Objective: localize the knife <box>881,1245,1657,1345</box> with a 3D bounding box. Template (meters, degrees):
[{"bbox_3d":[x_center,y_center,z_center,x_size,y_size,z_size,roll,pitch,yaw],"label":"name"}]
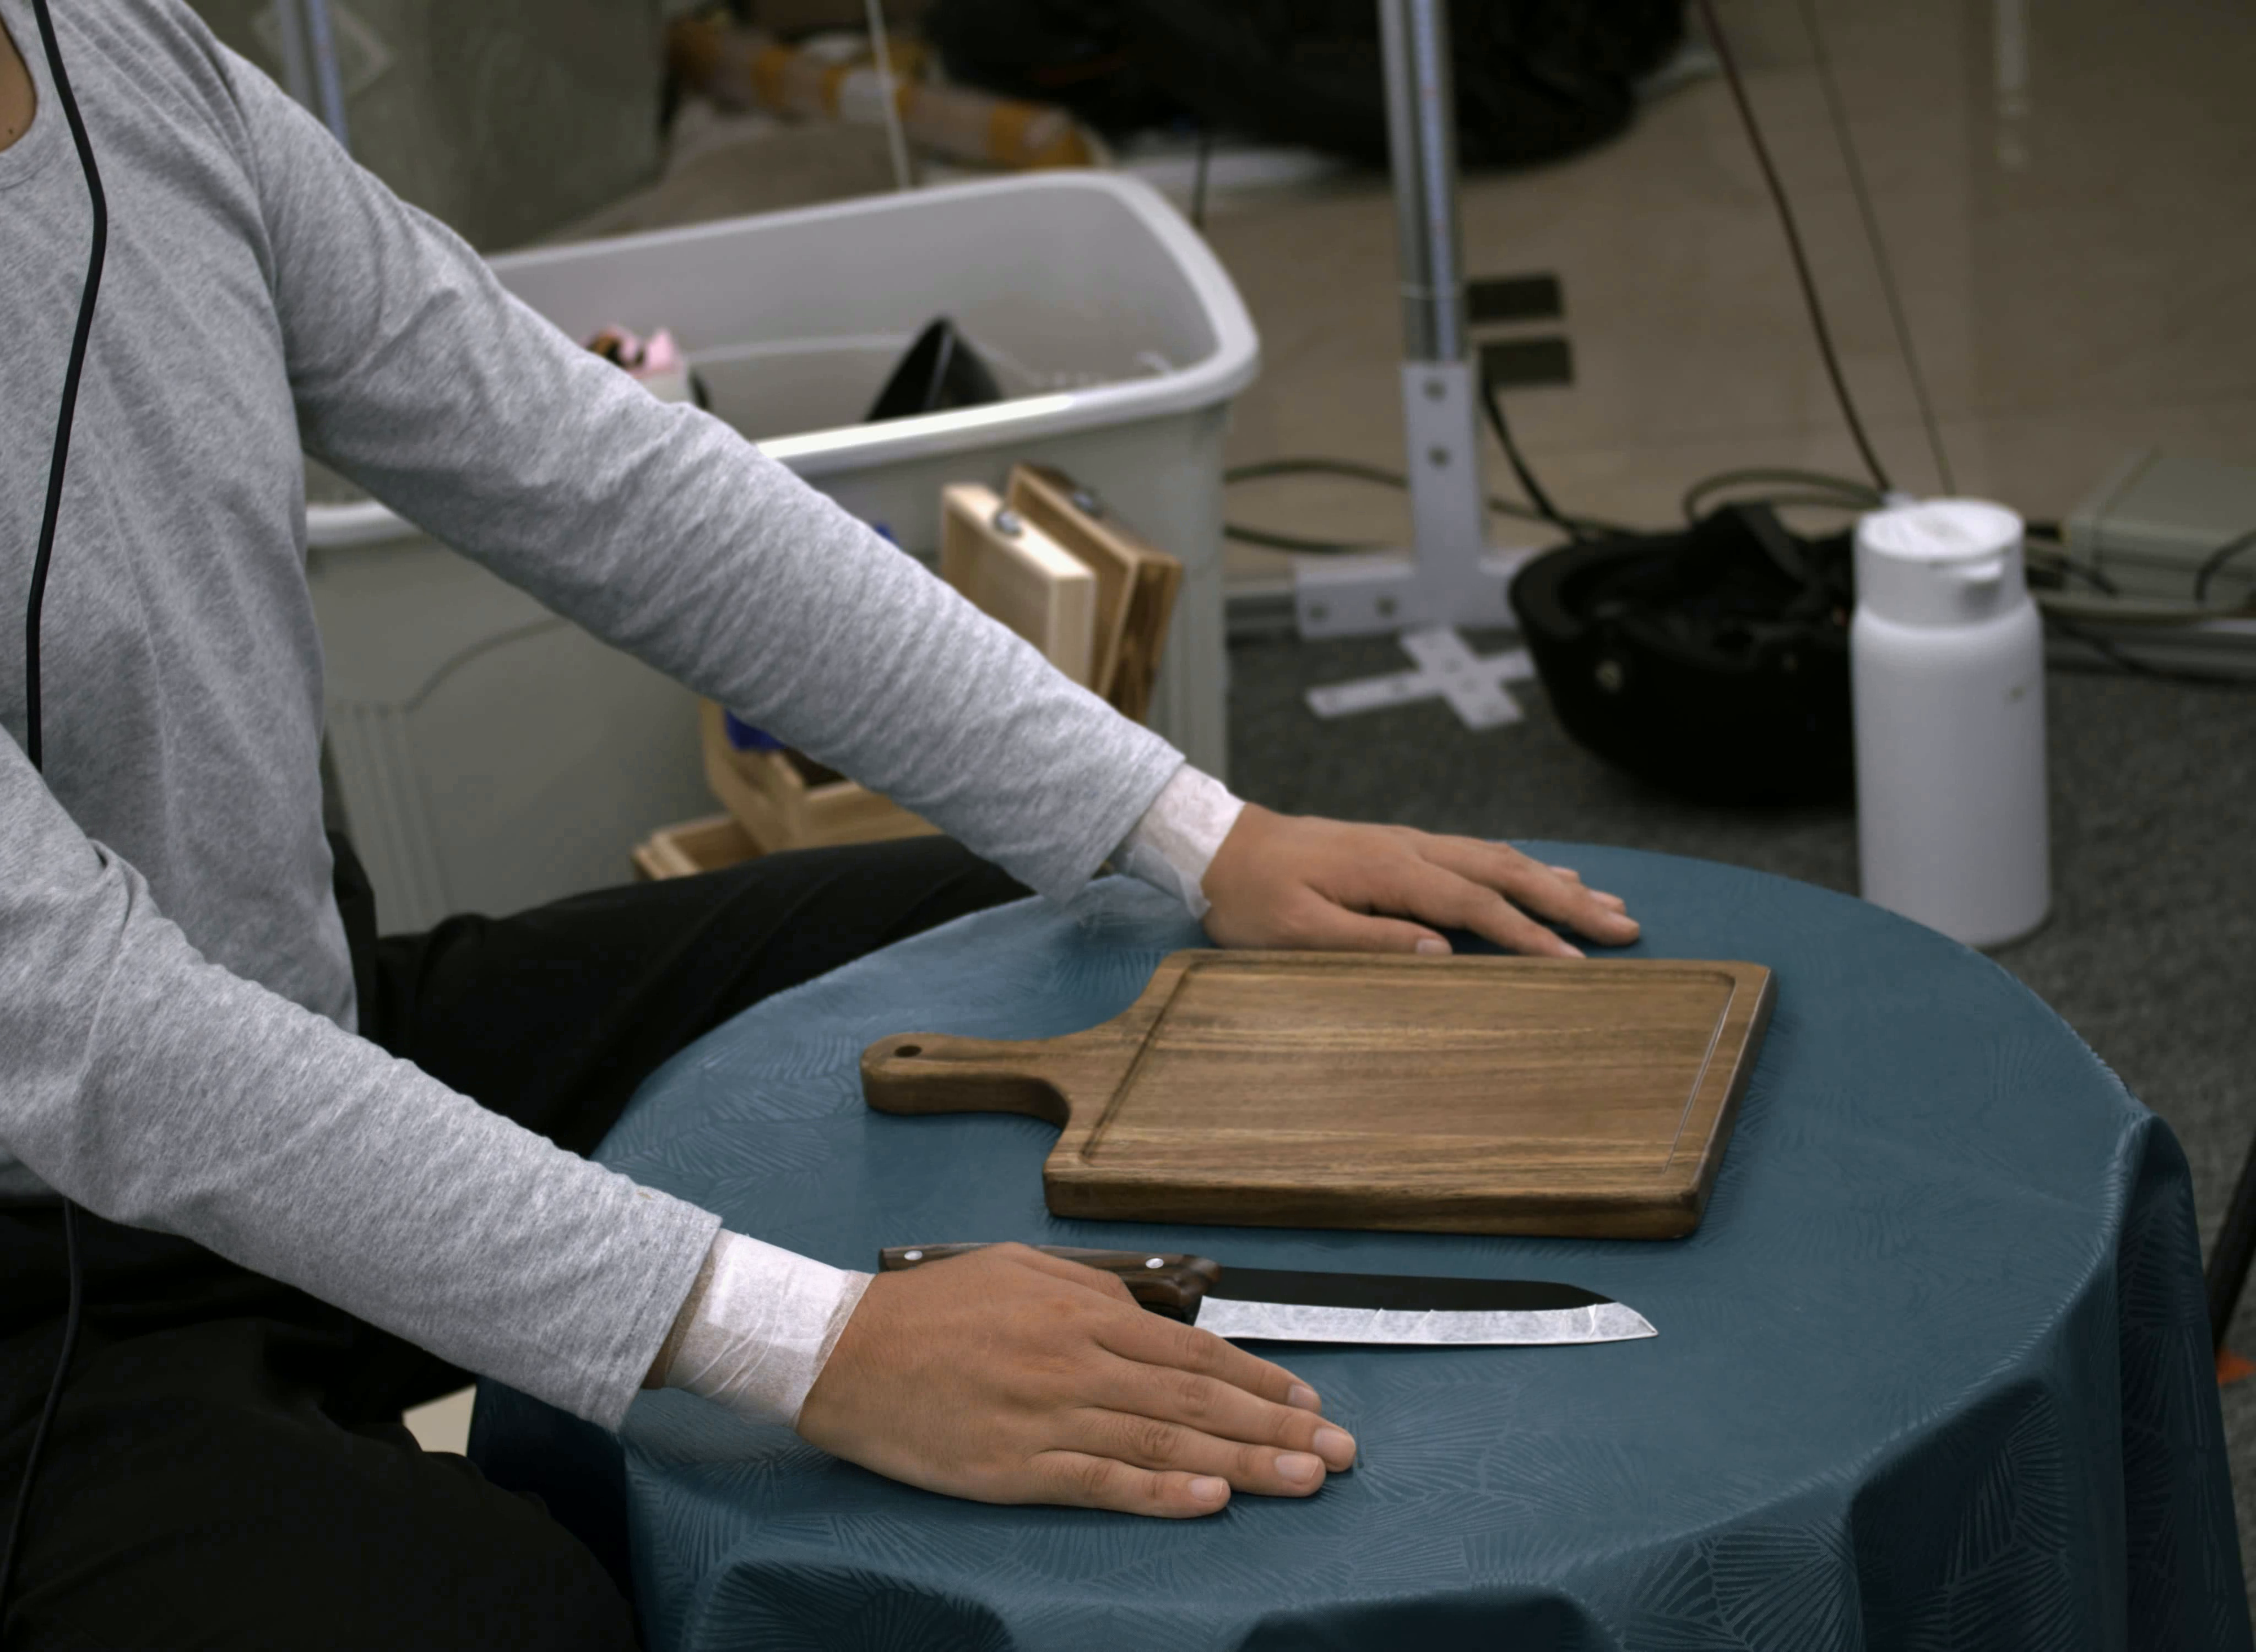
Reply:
[{"bbox_3d":[0.048,0.172,2.051,0.288,0.020,0.049,2,32,13],"label":"knife"}]

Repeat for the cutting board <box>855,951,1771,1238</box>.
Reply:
[{"bbox_3d":[0.063,0.100,2.197,0.351,0.023,0.198,1,25,16],"label":"cutting board"}]
